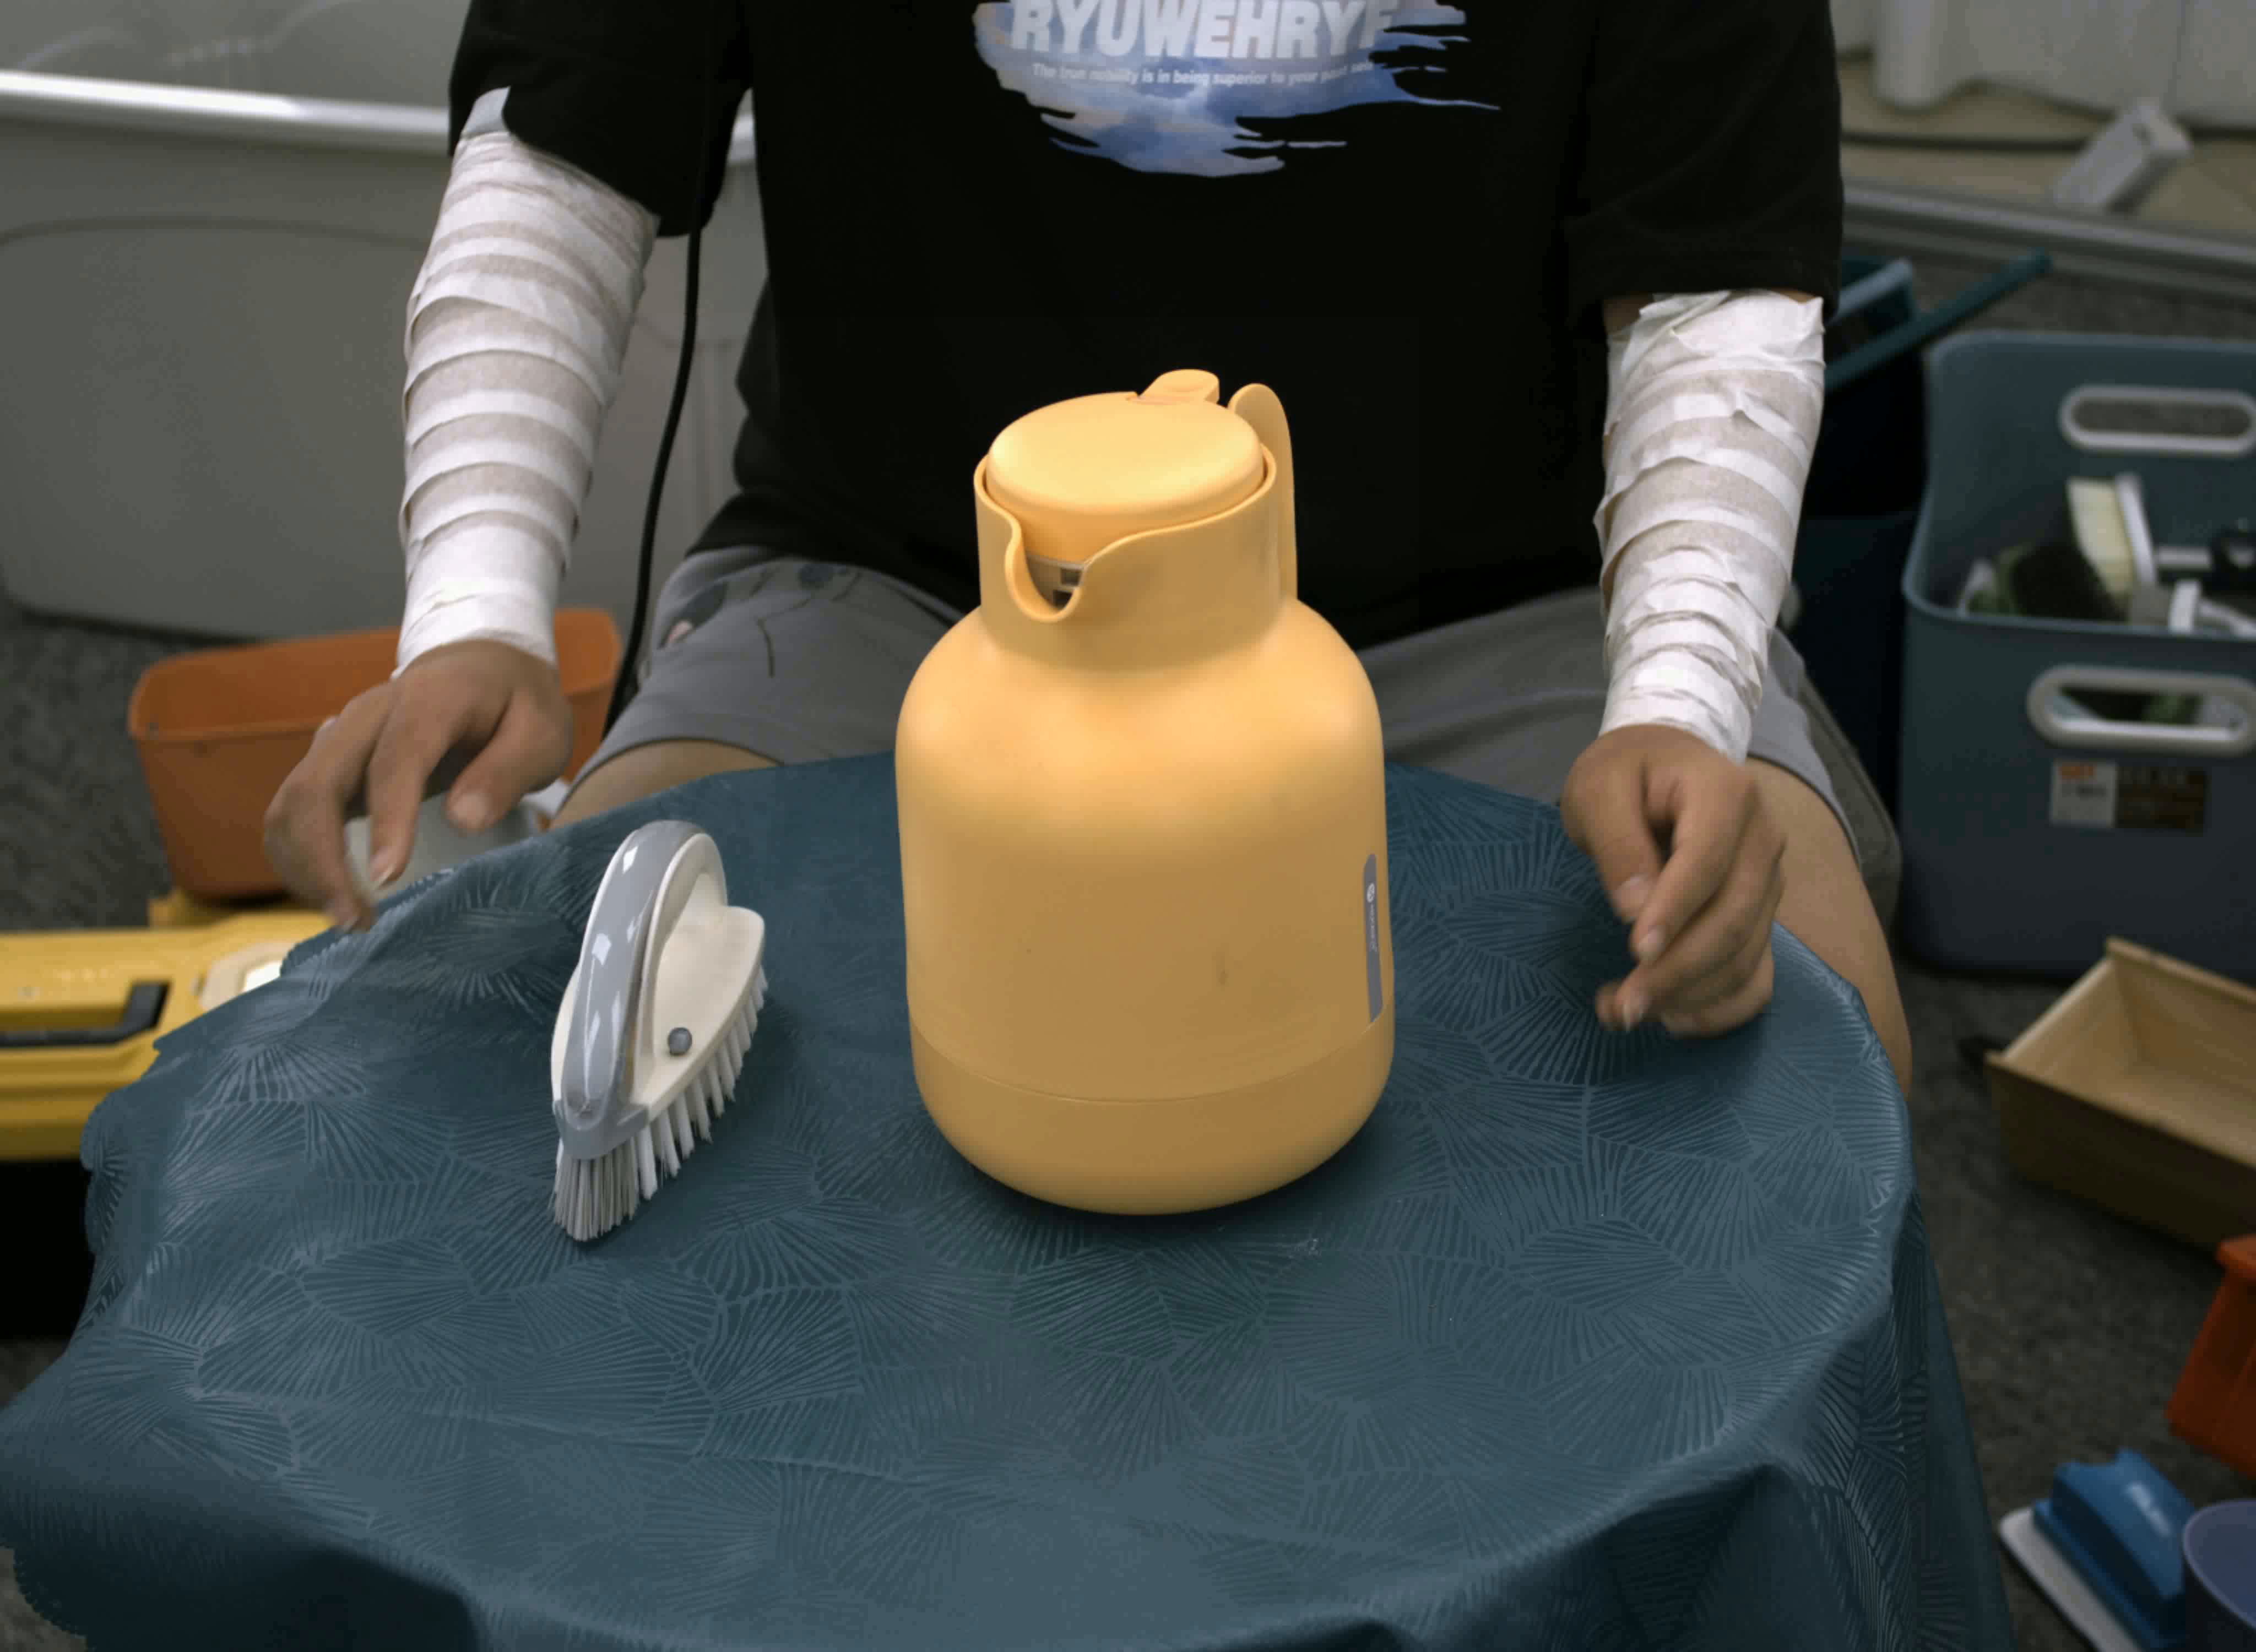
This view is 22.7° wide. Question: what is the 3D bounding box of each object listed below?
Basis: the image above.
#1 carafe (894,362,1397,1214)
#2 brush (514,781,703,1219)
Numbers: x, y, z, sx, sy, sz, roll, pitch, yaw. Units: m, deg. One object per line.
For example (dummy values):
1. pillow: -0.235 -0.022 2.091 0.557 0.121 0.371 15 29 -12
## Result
1. carafe: 0.013 -0.021 1.859 0.162 0.257 0.206 10 30 21
2. brush: -0.179 0.051 1.911 0.061 0.093 0.178 -10 33 -2
